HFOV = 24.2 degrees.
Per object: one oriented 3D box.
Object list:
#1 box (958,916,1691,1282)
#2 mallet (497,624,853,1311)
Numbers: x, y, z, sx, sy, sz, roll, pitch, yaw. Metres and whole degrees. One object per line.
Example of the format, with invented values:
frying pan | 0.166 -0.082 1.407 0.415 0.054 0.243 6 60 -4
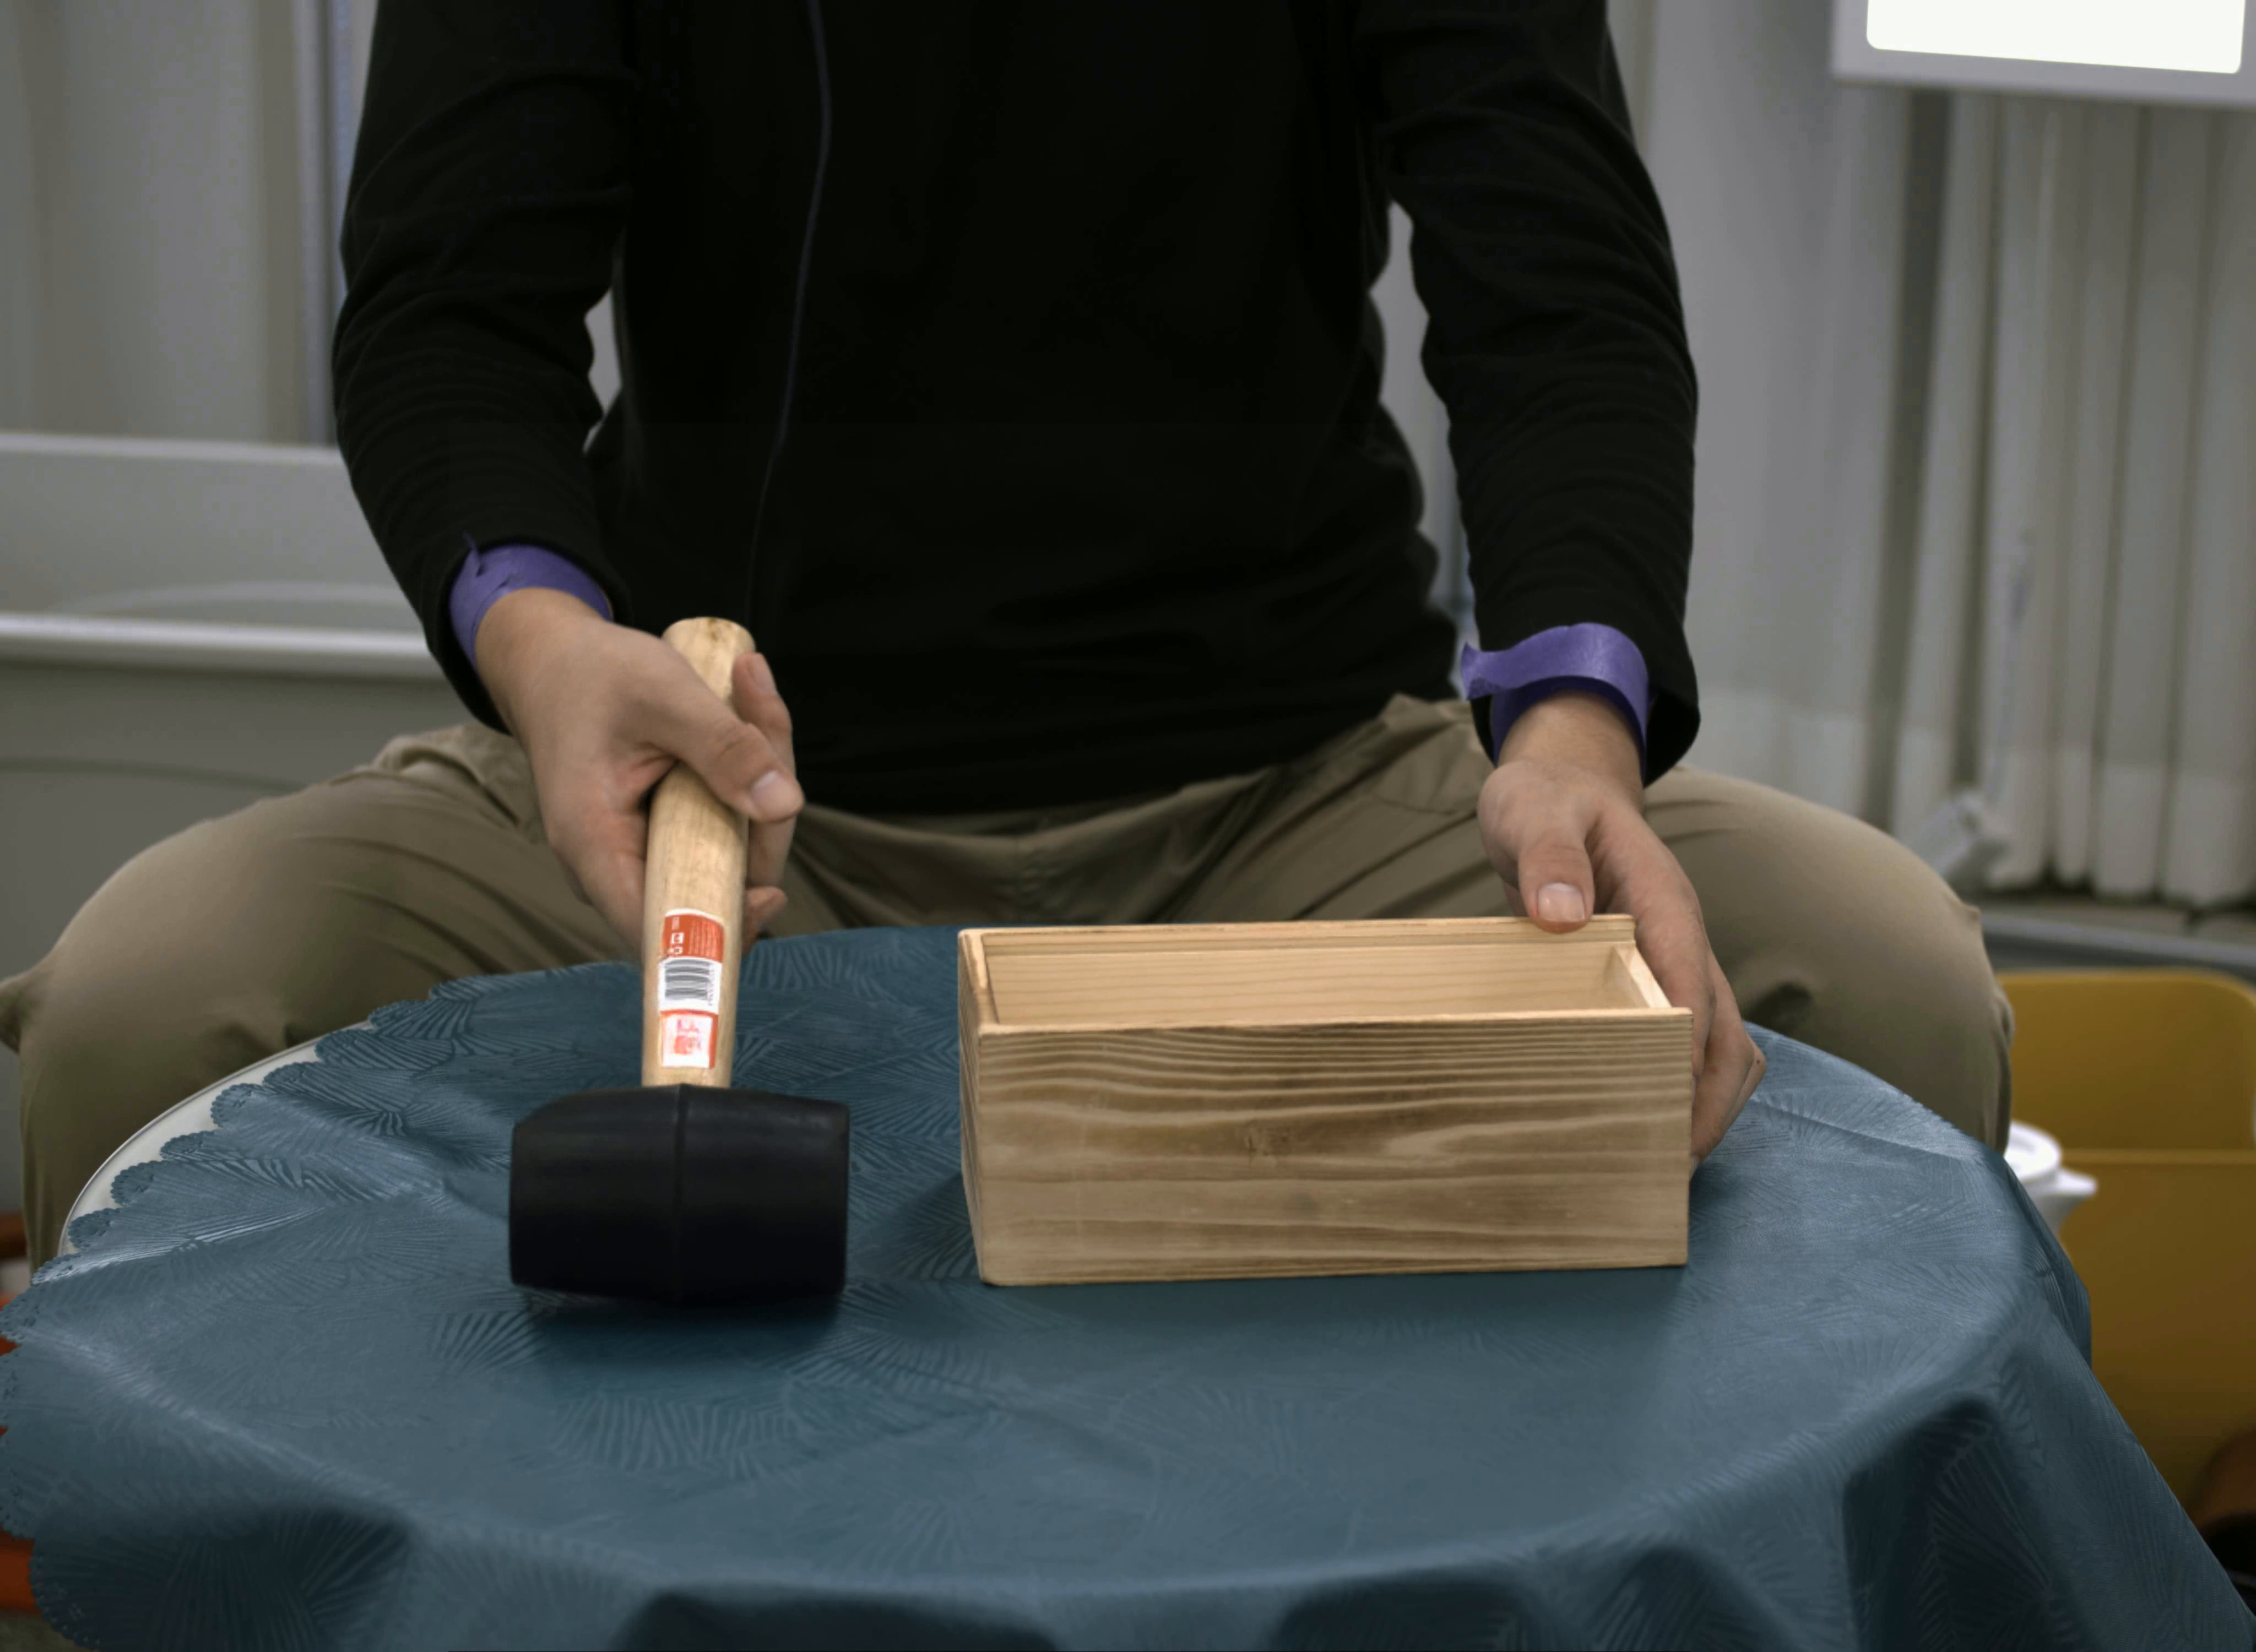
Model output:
box | 0.056 0.081 1.588 0.211 0.081 0.107 -1 15 -6
mallet | -0.134 0.027 1.627 0.101 0.065 0.336 3 36 -4
